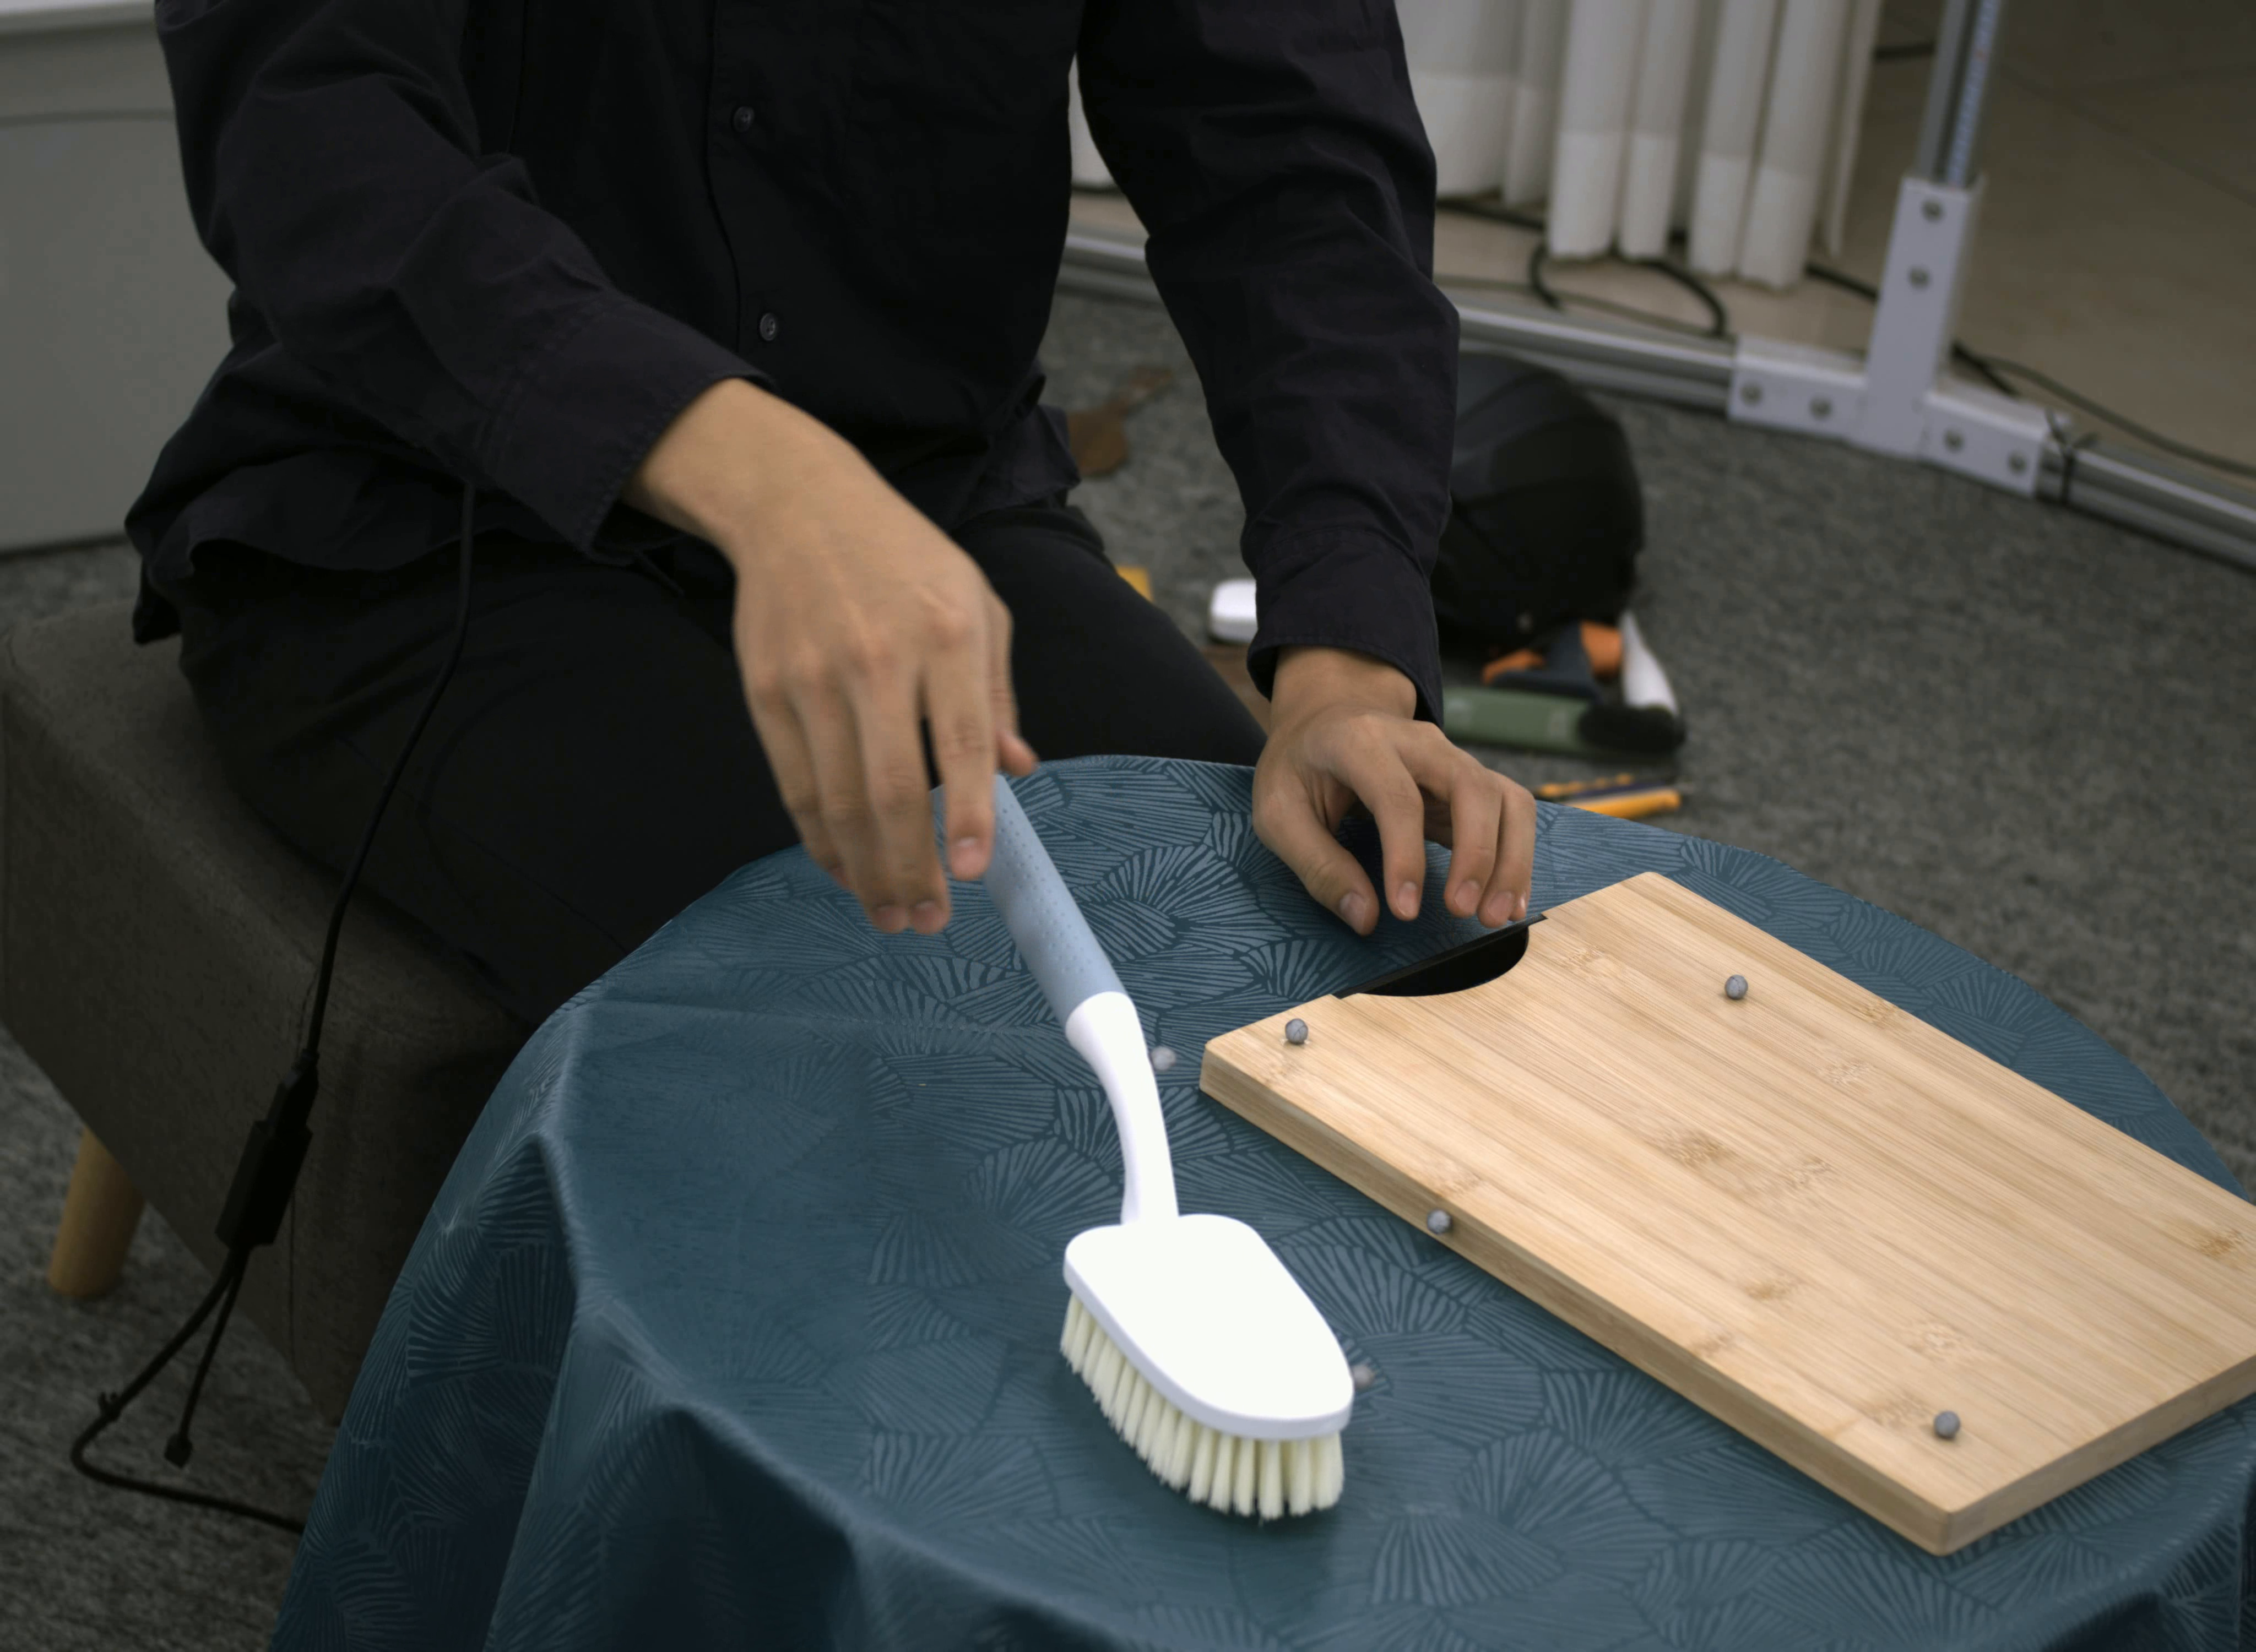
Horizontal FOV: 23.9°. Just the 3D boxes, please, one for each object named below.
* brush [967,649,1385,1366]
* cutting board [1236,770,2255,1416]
[{"bbox_3d":[0.009,0.068,1.768,0.082,0.084,0.328,33,19,-43],"label":"brush"},{"bbox_3d":[0.241,0.085,1.857,0.249,0.023,0.351,-19,37,-41],"label":"cutting board"}]
